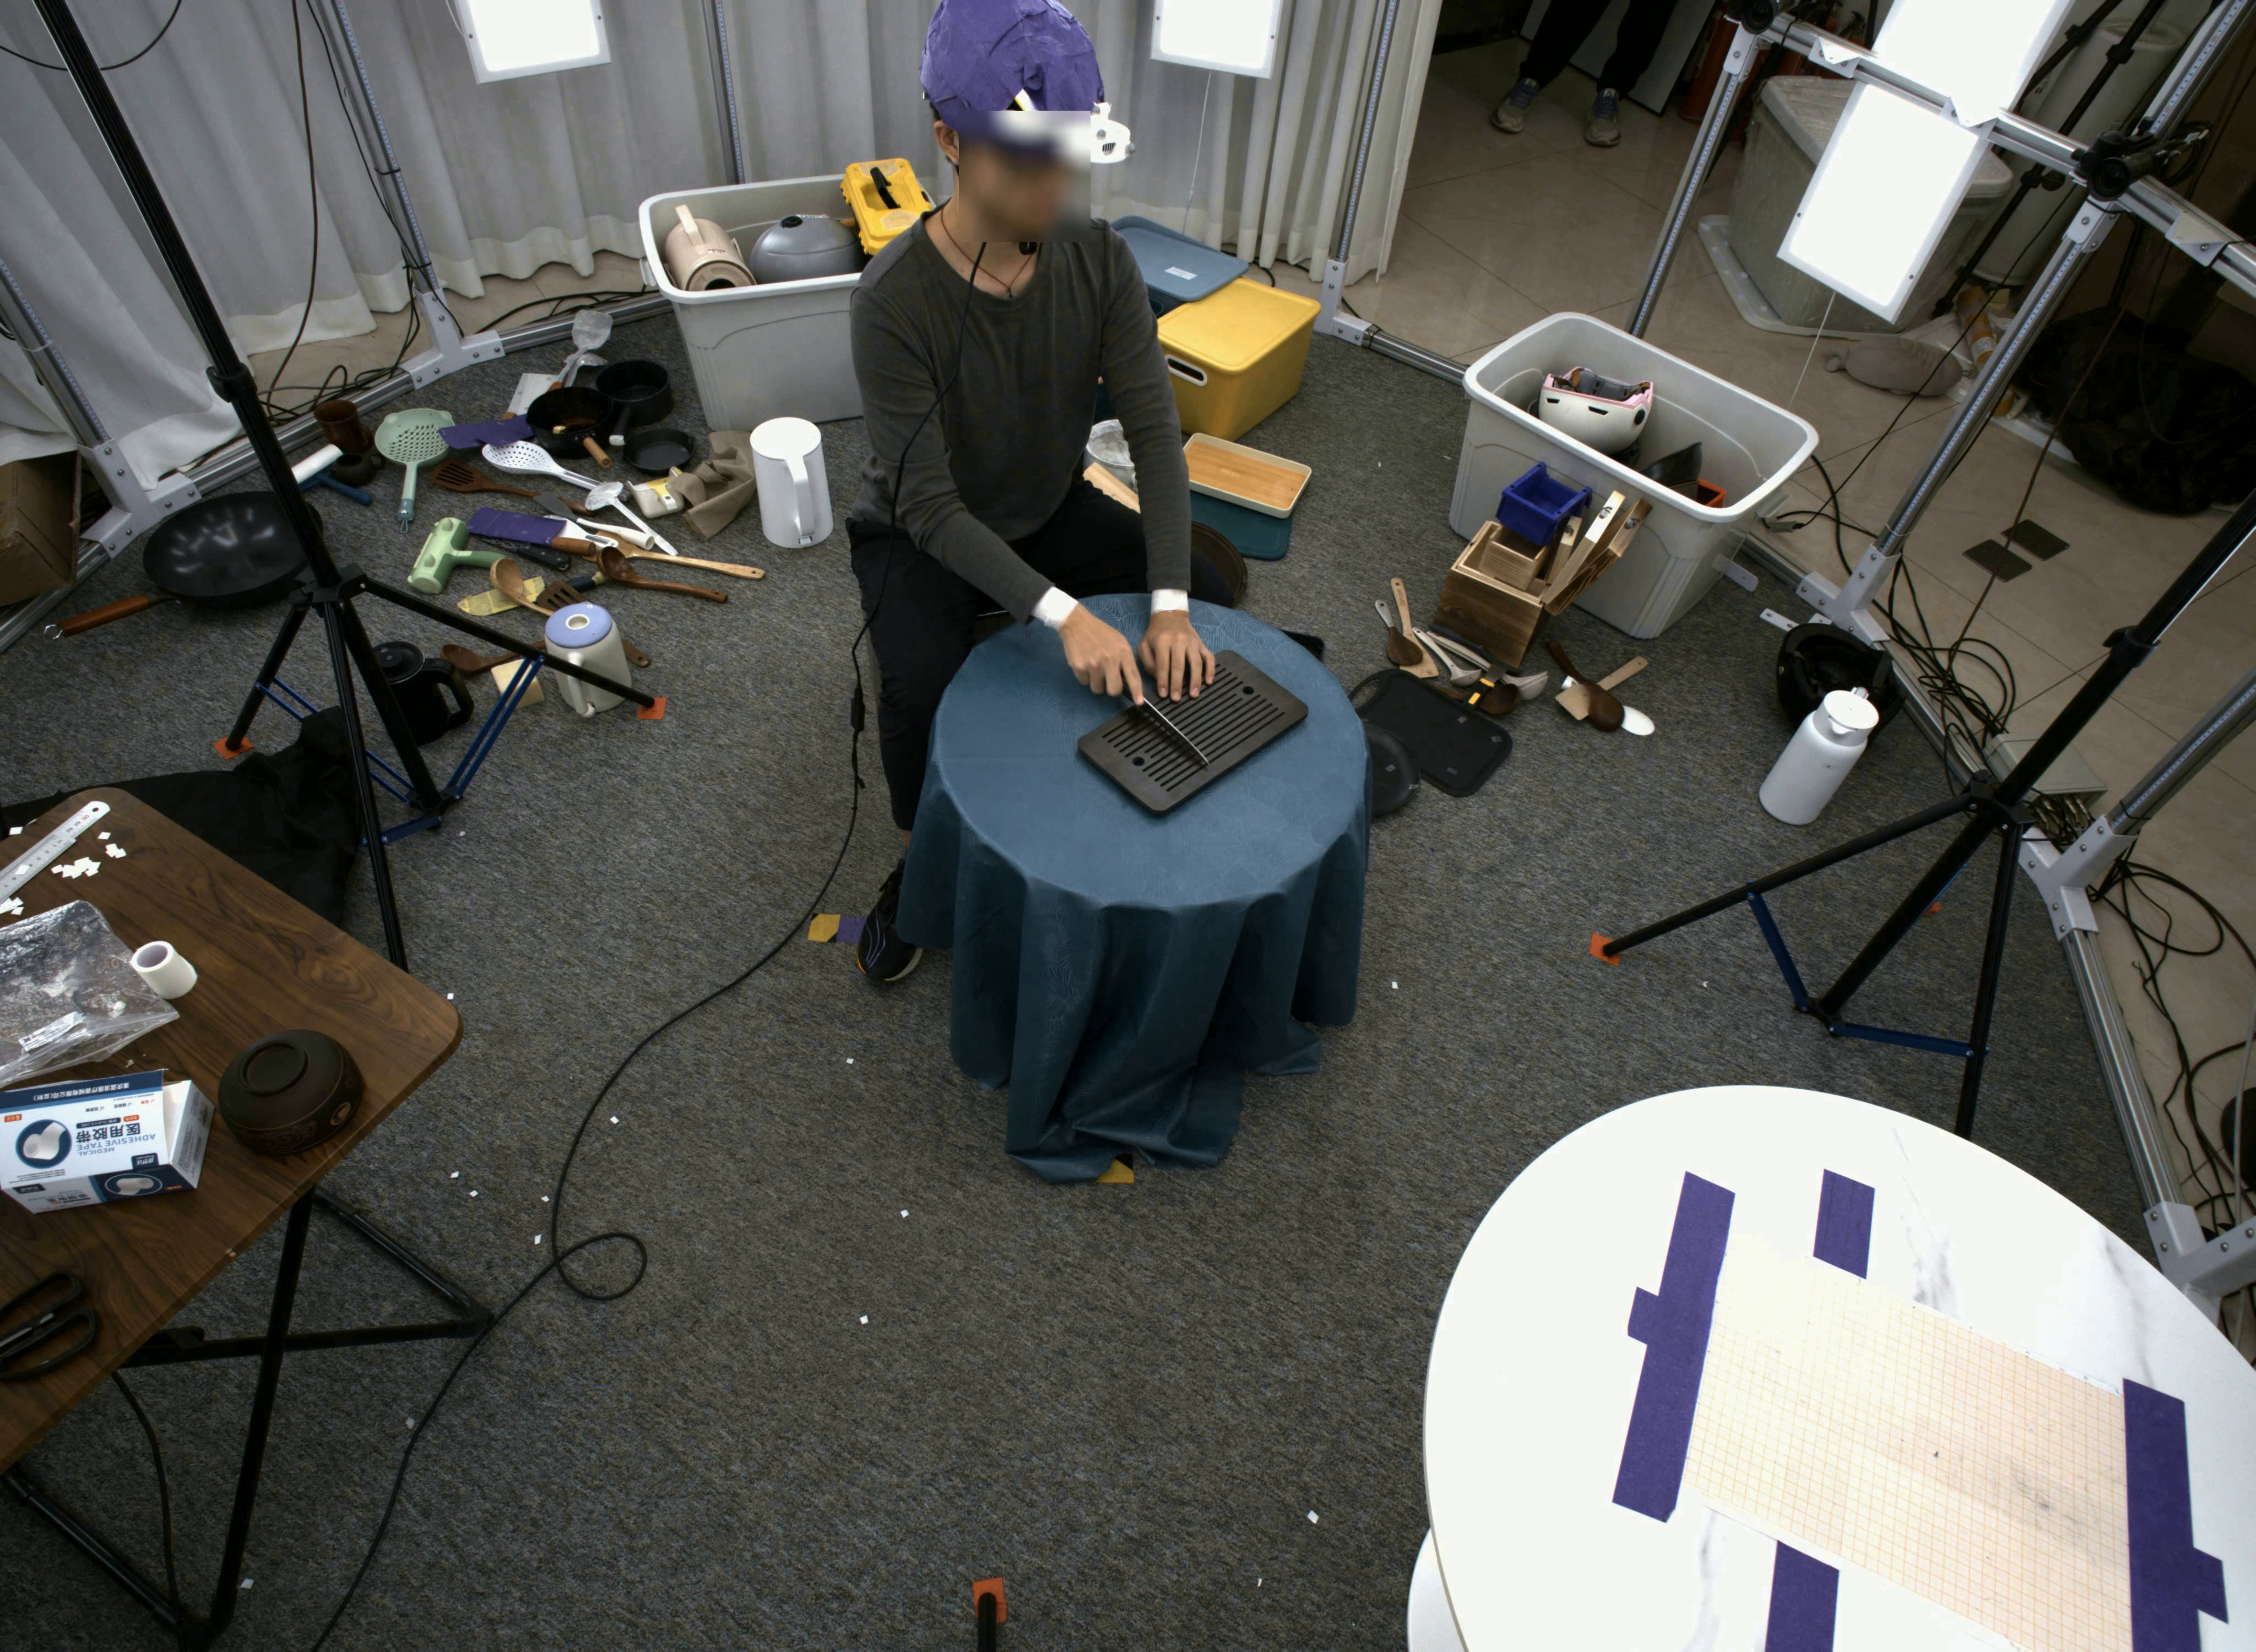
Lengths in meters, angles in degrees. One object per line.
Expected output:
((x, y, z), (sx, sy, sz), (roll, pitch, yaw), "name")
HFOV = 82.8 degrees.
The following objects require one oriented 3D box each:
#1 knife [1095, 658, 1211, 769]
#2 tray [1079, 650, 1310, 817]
((0.034, -0.157, 1.763), (0.016, 0.024, 0.242), (-32, 63, -26), "knife")
((0.094, -0.132, 1.777), (0.308, 0.018, 0.173), (-34, 59, -29), "tray")
